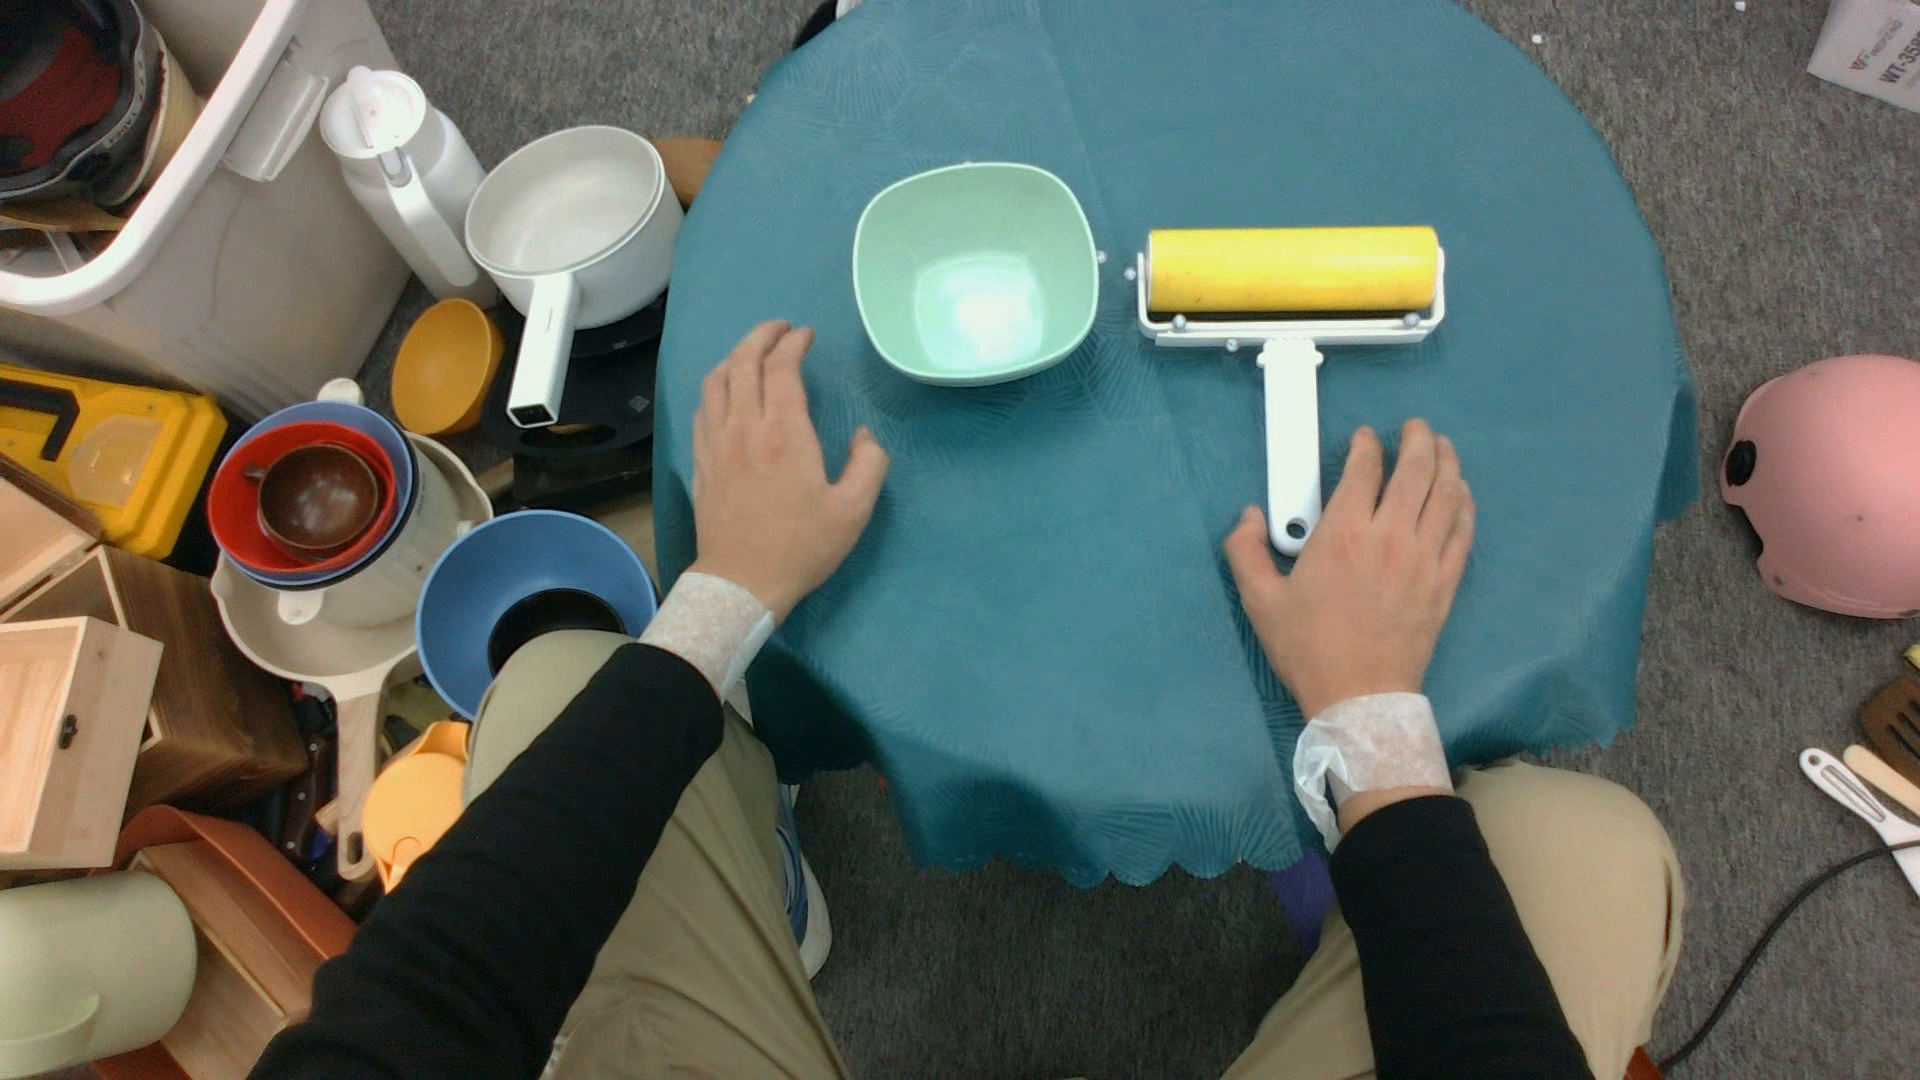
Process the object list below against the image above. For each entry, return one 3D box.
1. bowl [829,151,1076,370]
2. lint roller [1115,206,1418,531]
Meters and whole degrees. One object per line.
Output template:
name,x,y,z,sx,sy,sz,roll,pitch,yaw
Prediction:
bowl,-0.004,-0.152,0.803,0.151,0.058,0.152,0,68,1
lint roller,0.179,-0.102,0.781,0.174,0.051,0.192,-2,66,2
